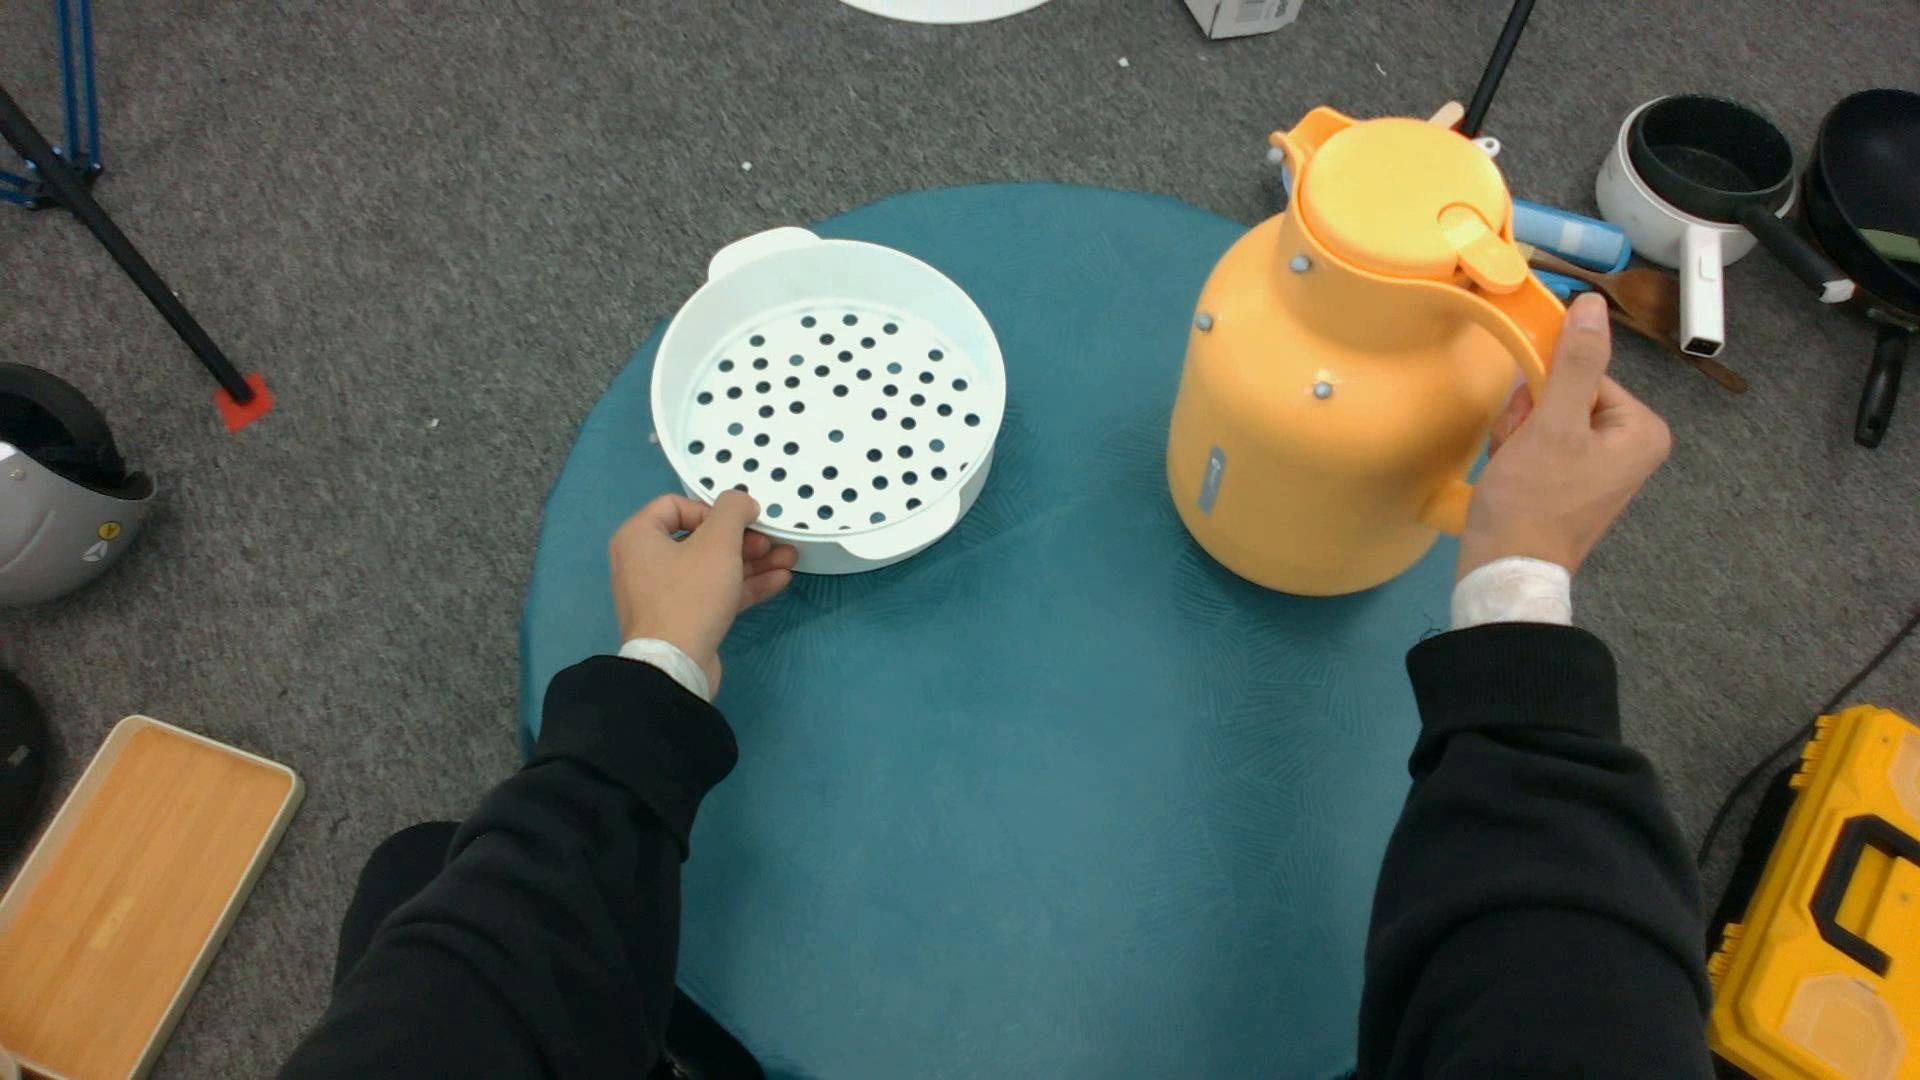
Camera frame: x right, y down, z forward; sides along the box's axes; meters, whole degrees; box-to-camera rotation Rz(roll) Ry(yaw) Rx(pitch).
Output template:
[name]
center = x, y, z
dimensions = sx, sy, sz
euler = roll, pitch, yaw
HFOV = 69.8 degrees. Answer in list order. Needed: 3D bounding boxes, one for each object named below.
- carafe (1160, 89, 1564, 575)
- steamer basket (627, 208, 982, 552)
[carafe]
center = 0.200, -0.090, 0.706
dimensions = 0.164, 0.259, 0.202
euler = -33, 61, -14
[steamer basket]
center = -0.089, -0.089, 0.811
dimensions = 0.202, 0.069, 0.231
euler = -23, 67, -14
